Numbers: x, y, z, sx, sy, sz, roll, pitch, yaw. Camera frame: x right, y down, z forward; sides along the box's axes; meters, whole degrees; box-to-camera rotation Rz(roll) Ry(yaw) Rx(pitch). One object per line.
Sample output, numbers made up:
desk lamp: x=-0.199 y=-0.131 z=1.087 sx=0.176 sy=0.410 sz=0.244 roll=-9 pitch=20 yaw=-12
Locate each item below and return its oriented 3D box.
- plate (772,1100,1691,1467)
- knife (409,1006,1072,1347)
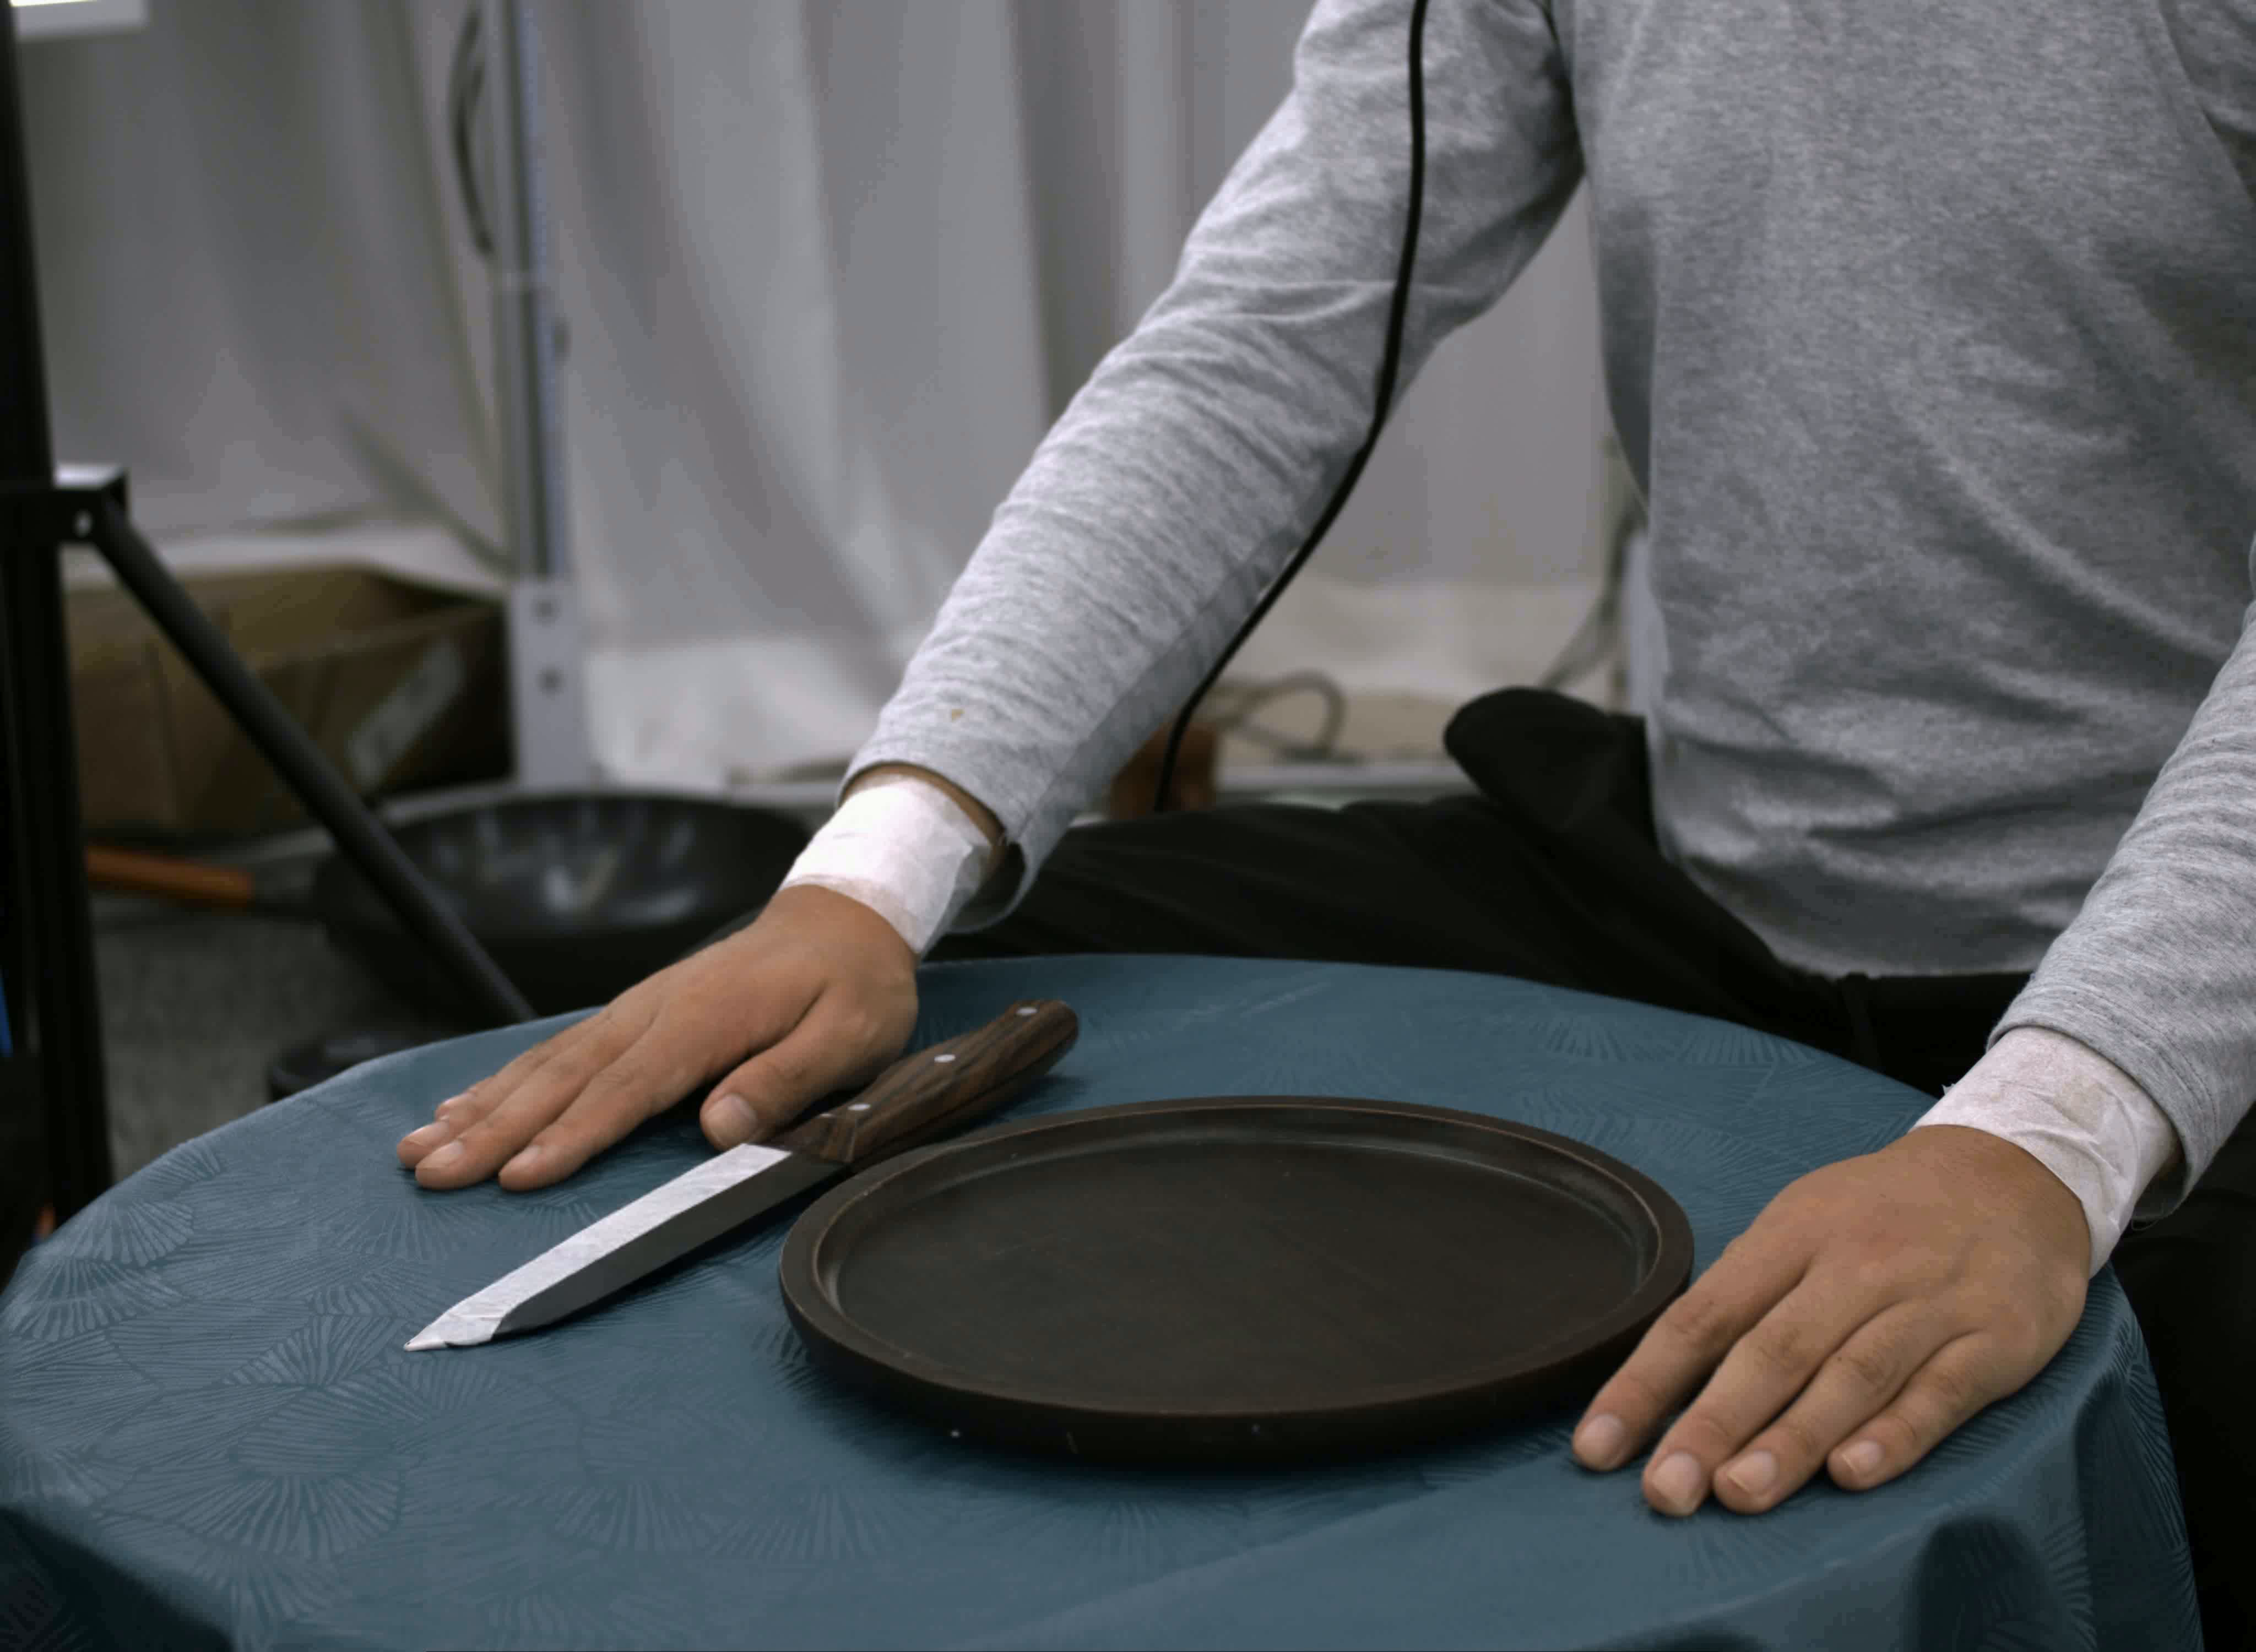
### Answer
plate: x=0.029 y=0.123 z=1.459 sx=0.253 sy=0.029 sz=0.256 roll=-3 pitch=14 yaw=-1
knife: x=-0.108 y=0.104 z=1.567 sx=0.051 sy=0.020 sz=0.283 roll=4 pitch=19 yaw=38
